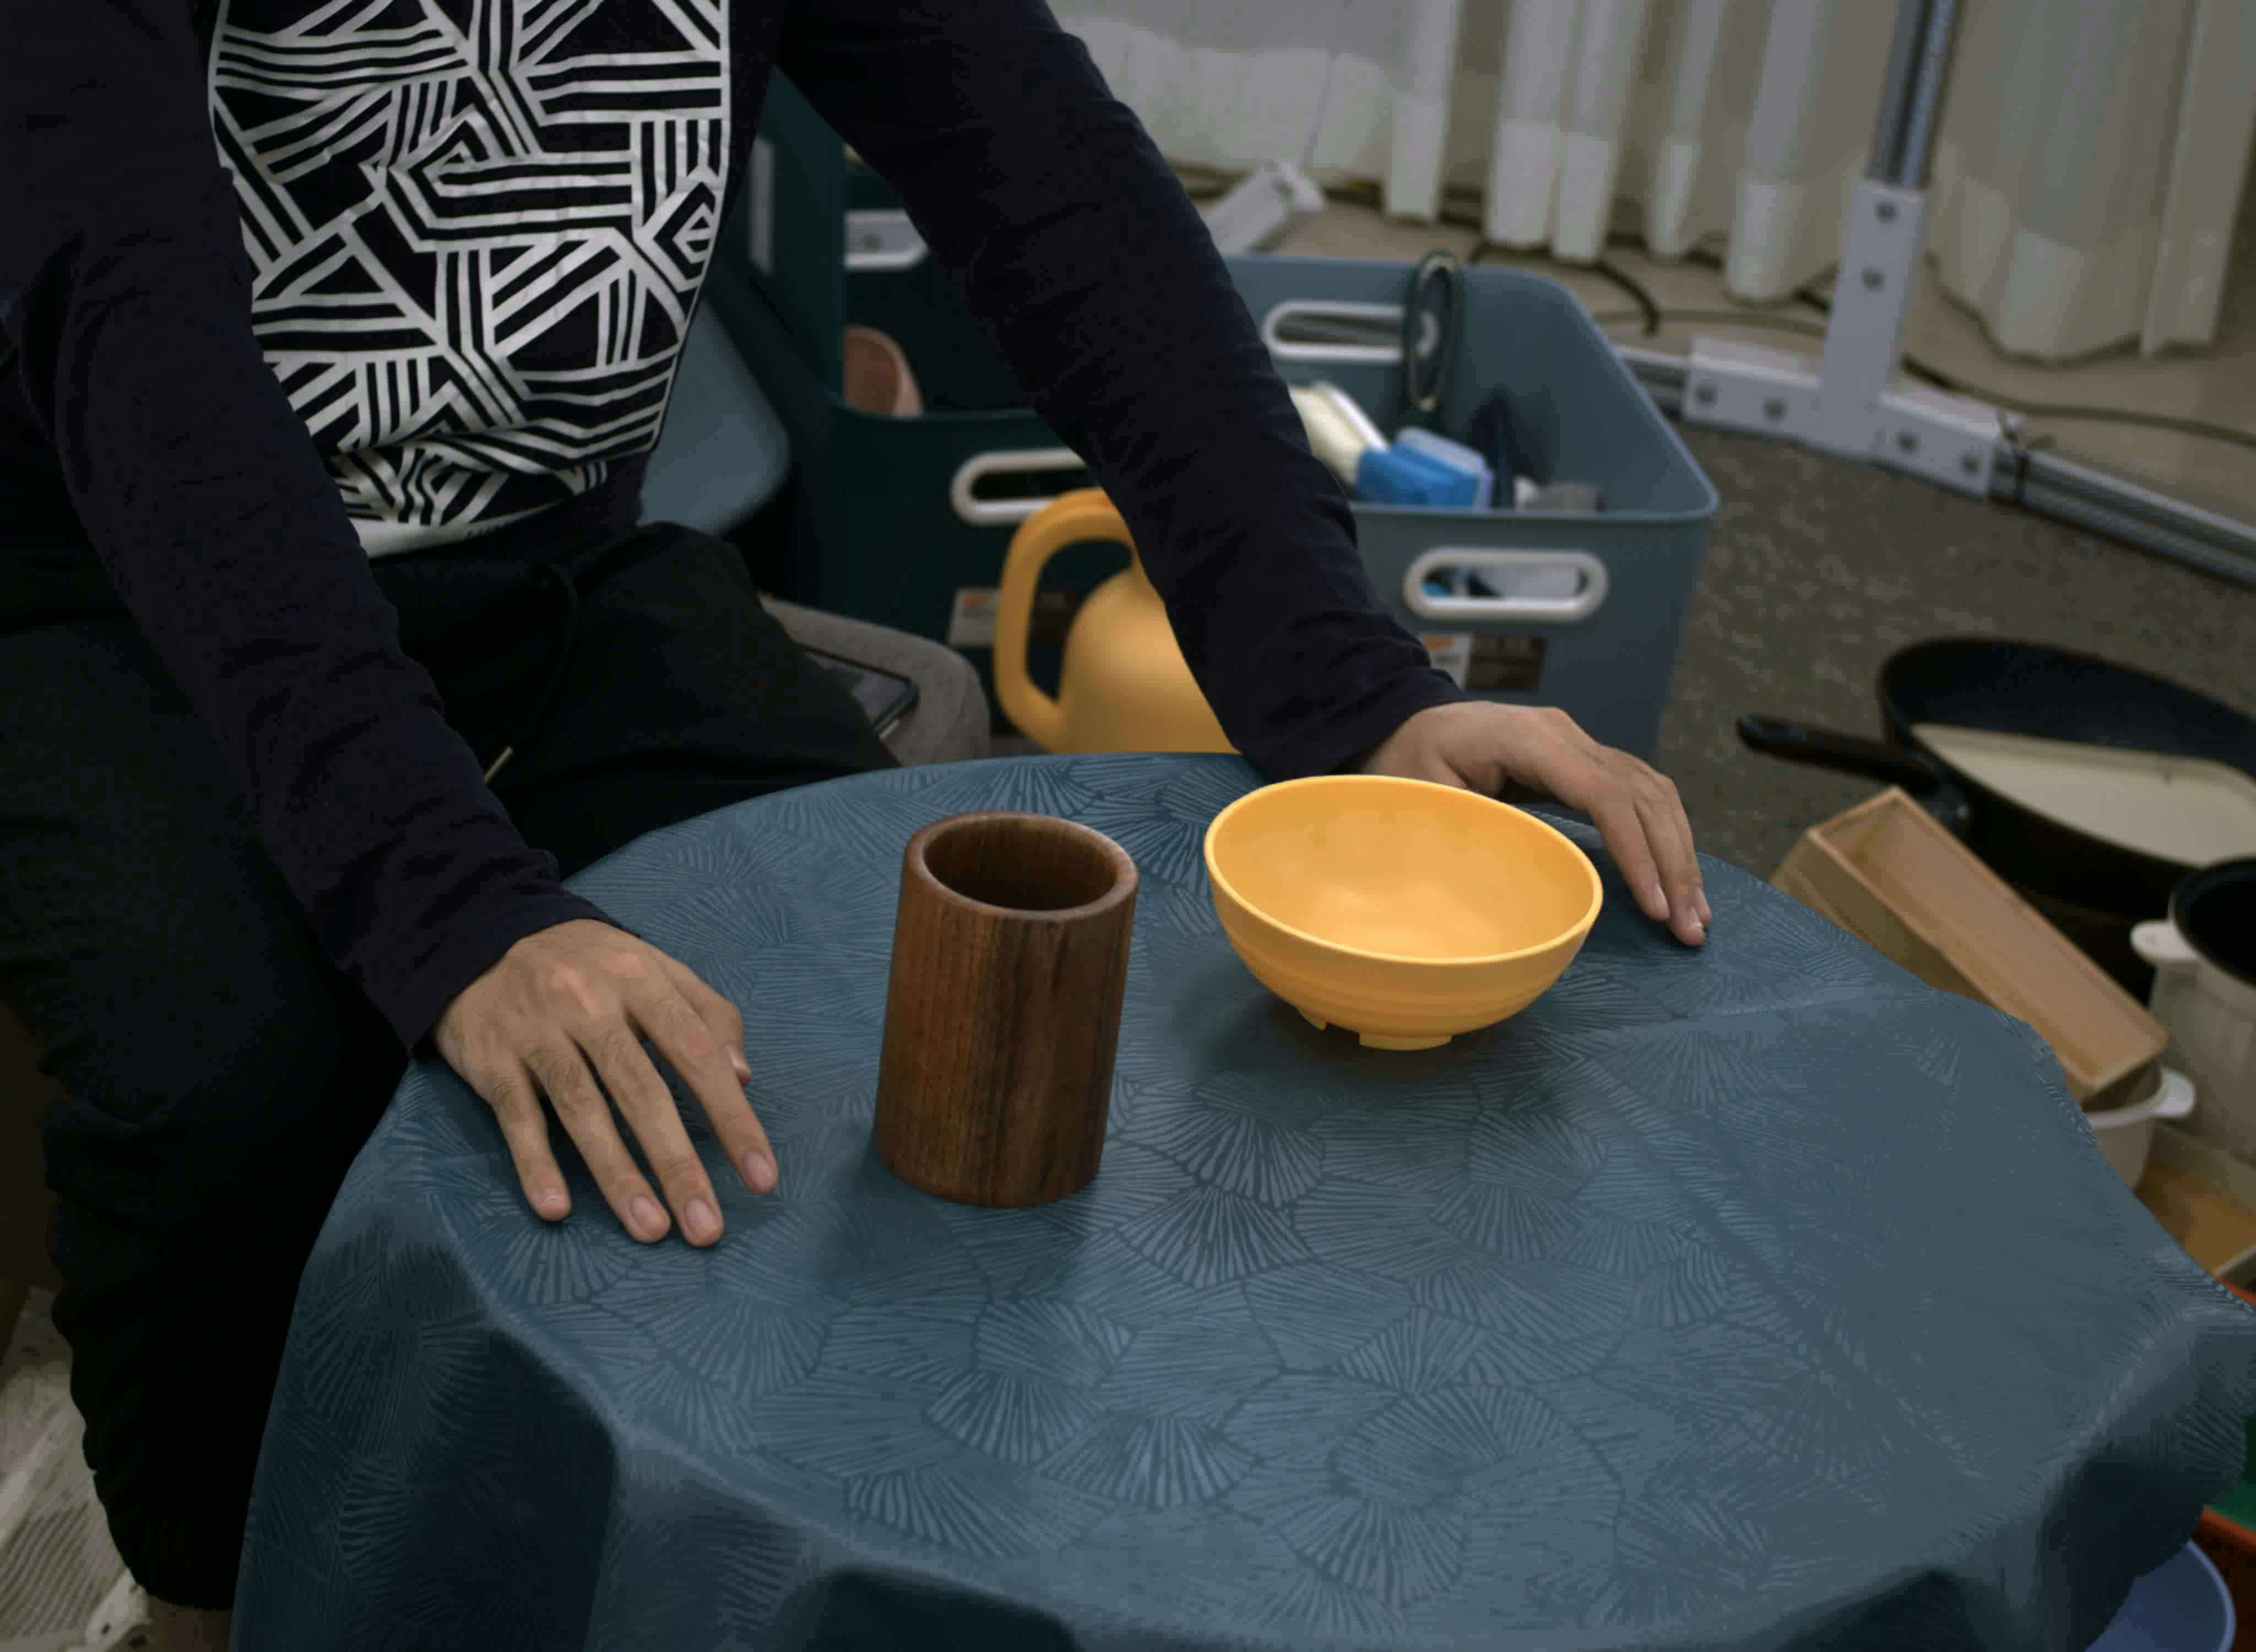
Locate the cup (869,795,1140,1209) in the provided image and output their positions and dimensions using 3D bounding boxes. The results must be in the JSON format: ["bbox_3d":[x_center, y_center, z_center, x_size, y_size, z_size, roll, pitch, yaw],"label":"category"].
[{"bbox_3d":[-0.043,0.059,1.795,0.087,0.118,0.088,7,25,-3],"label":"cup"}]

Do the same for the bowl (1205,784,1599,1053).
[{"bbox_3d":[0.096,0.041,1.928,0.145,0.060,0.146,5,25,-3],"label":"bowl"}]
